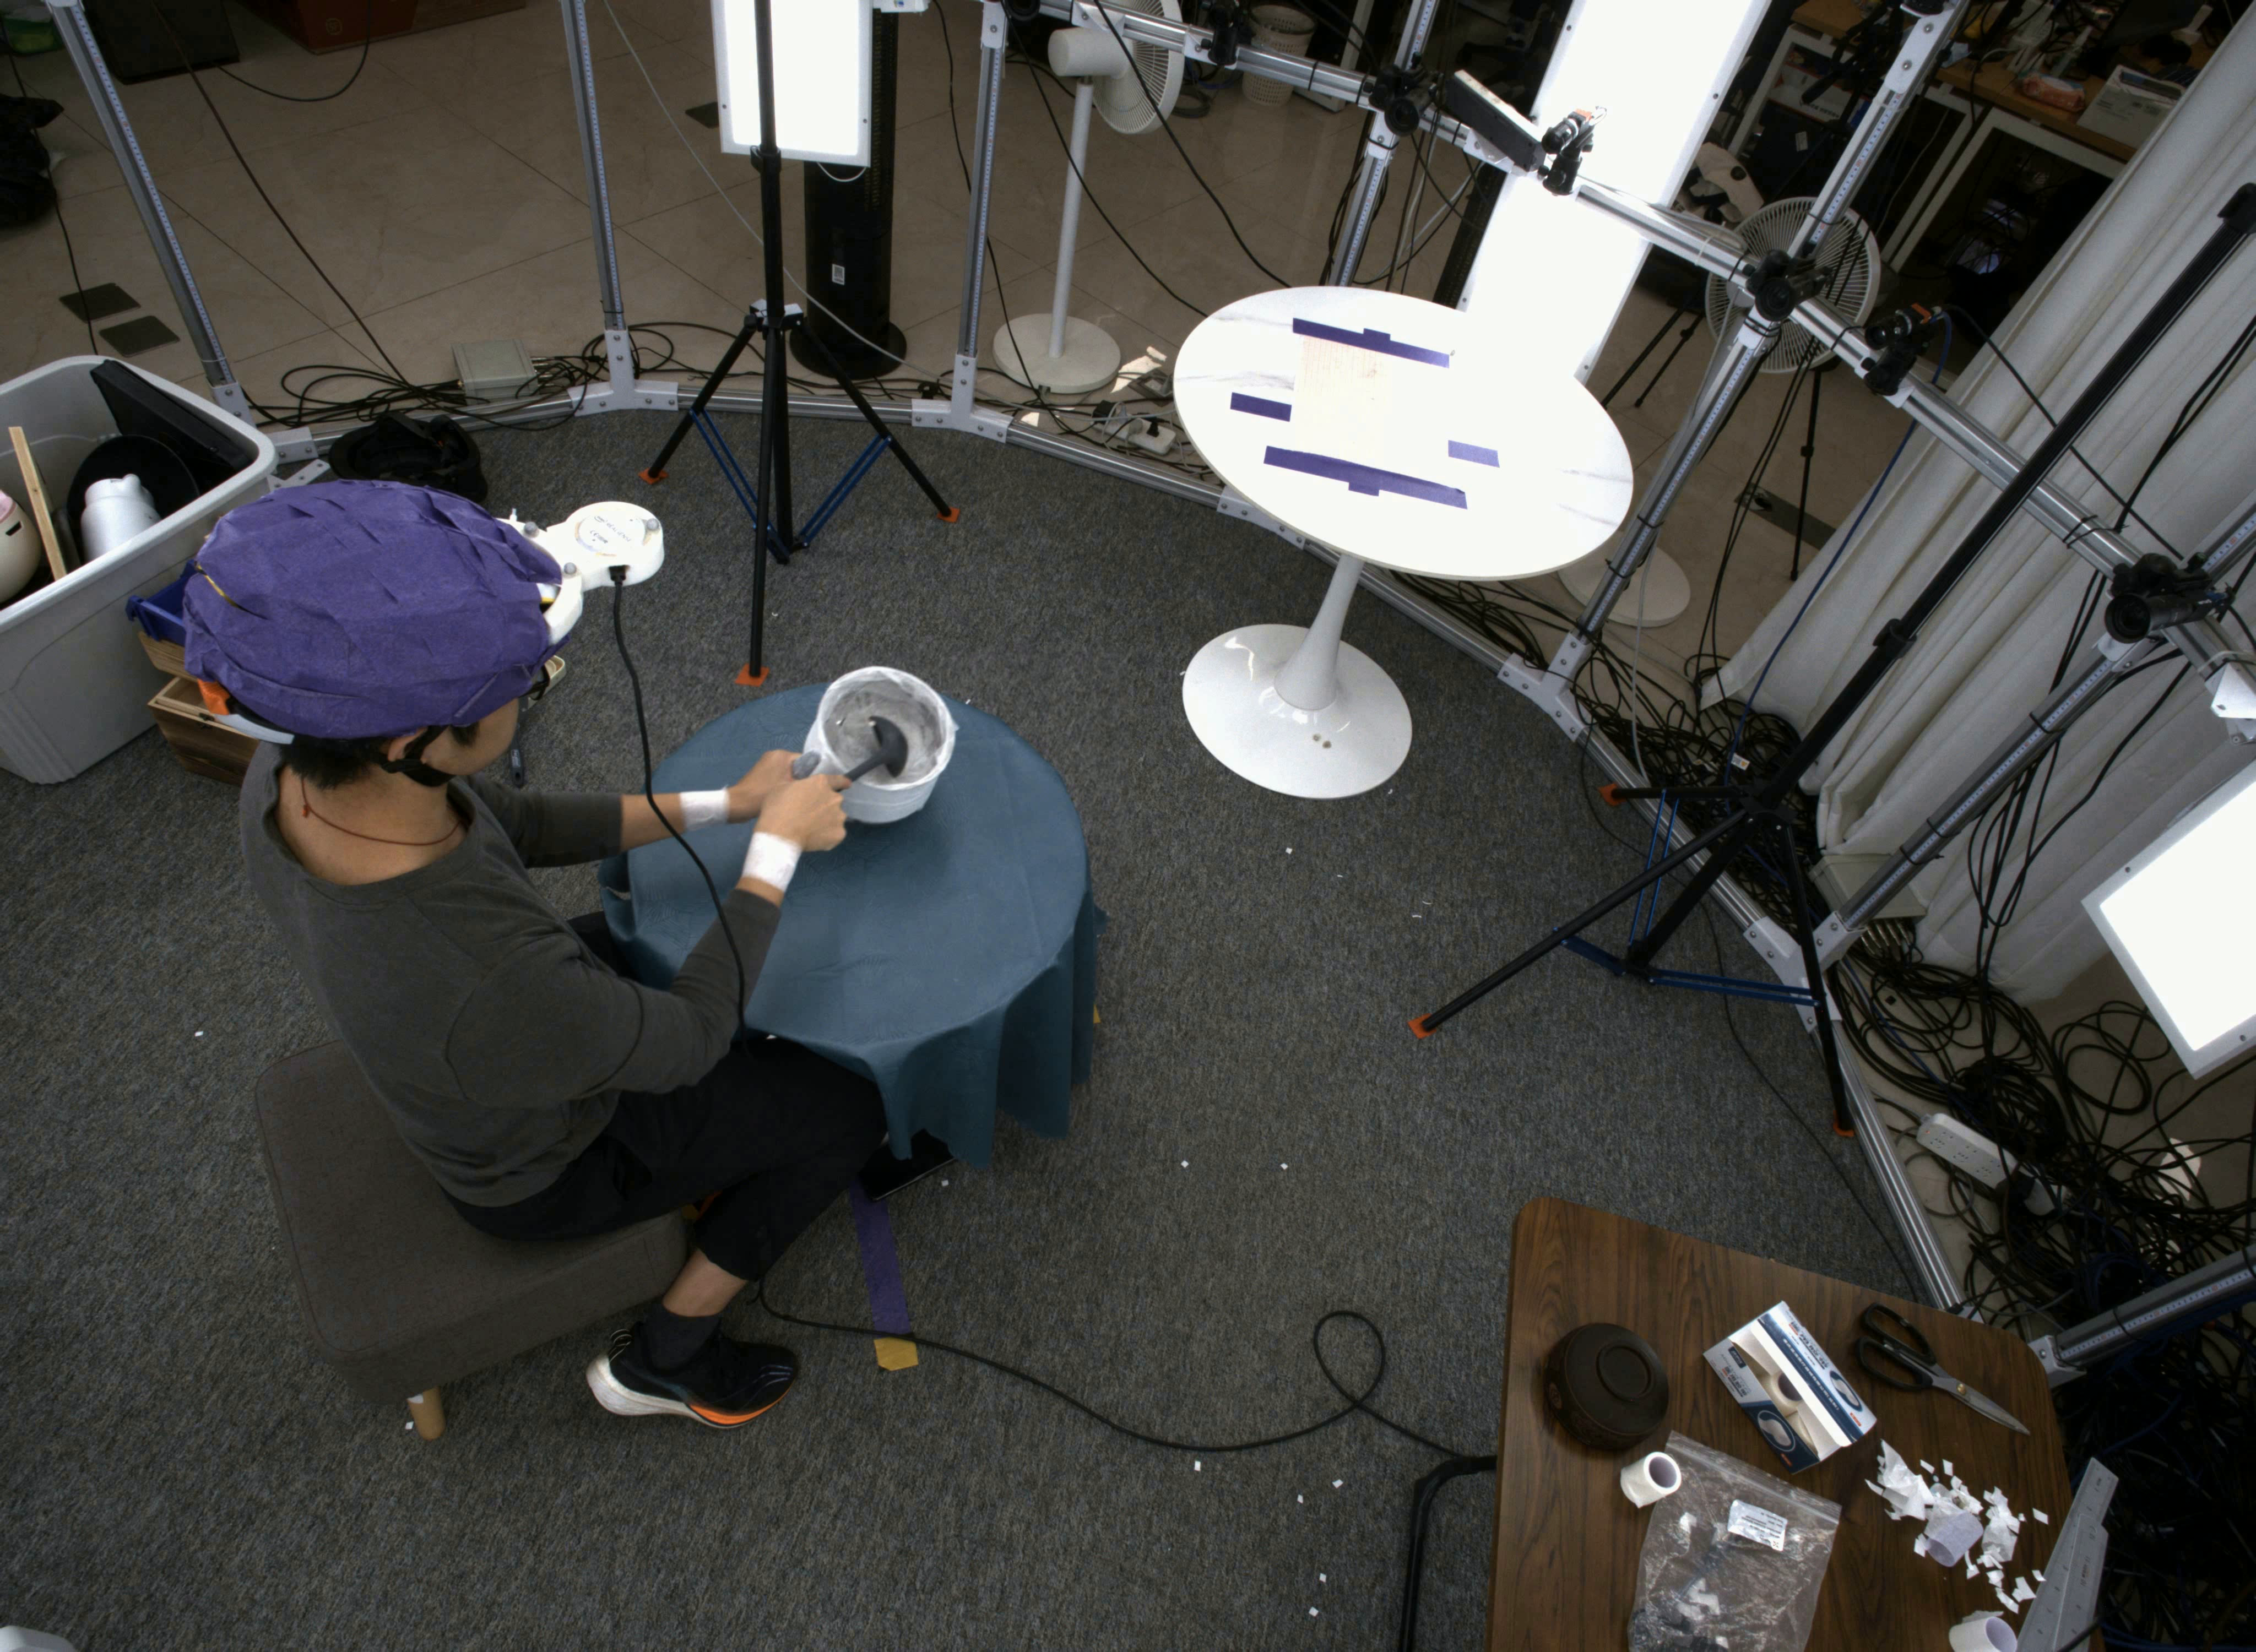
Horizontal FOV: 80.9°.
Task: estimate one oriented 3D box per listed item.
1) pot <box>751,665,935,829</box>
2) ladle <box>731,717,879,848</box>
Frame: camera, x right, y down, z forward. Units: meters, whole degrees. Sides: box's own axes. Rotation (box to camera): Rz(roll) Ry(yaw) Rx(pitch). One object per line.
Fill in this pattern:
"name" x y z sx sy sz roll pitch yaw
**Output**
"pot" -0.373 -0.086 1.675 0.235 0.137 0.177 -29 79 -33
"ladle" -0.396 -0.045 1.563 0.088 0.062 0.313 65 32 -17
